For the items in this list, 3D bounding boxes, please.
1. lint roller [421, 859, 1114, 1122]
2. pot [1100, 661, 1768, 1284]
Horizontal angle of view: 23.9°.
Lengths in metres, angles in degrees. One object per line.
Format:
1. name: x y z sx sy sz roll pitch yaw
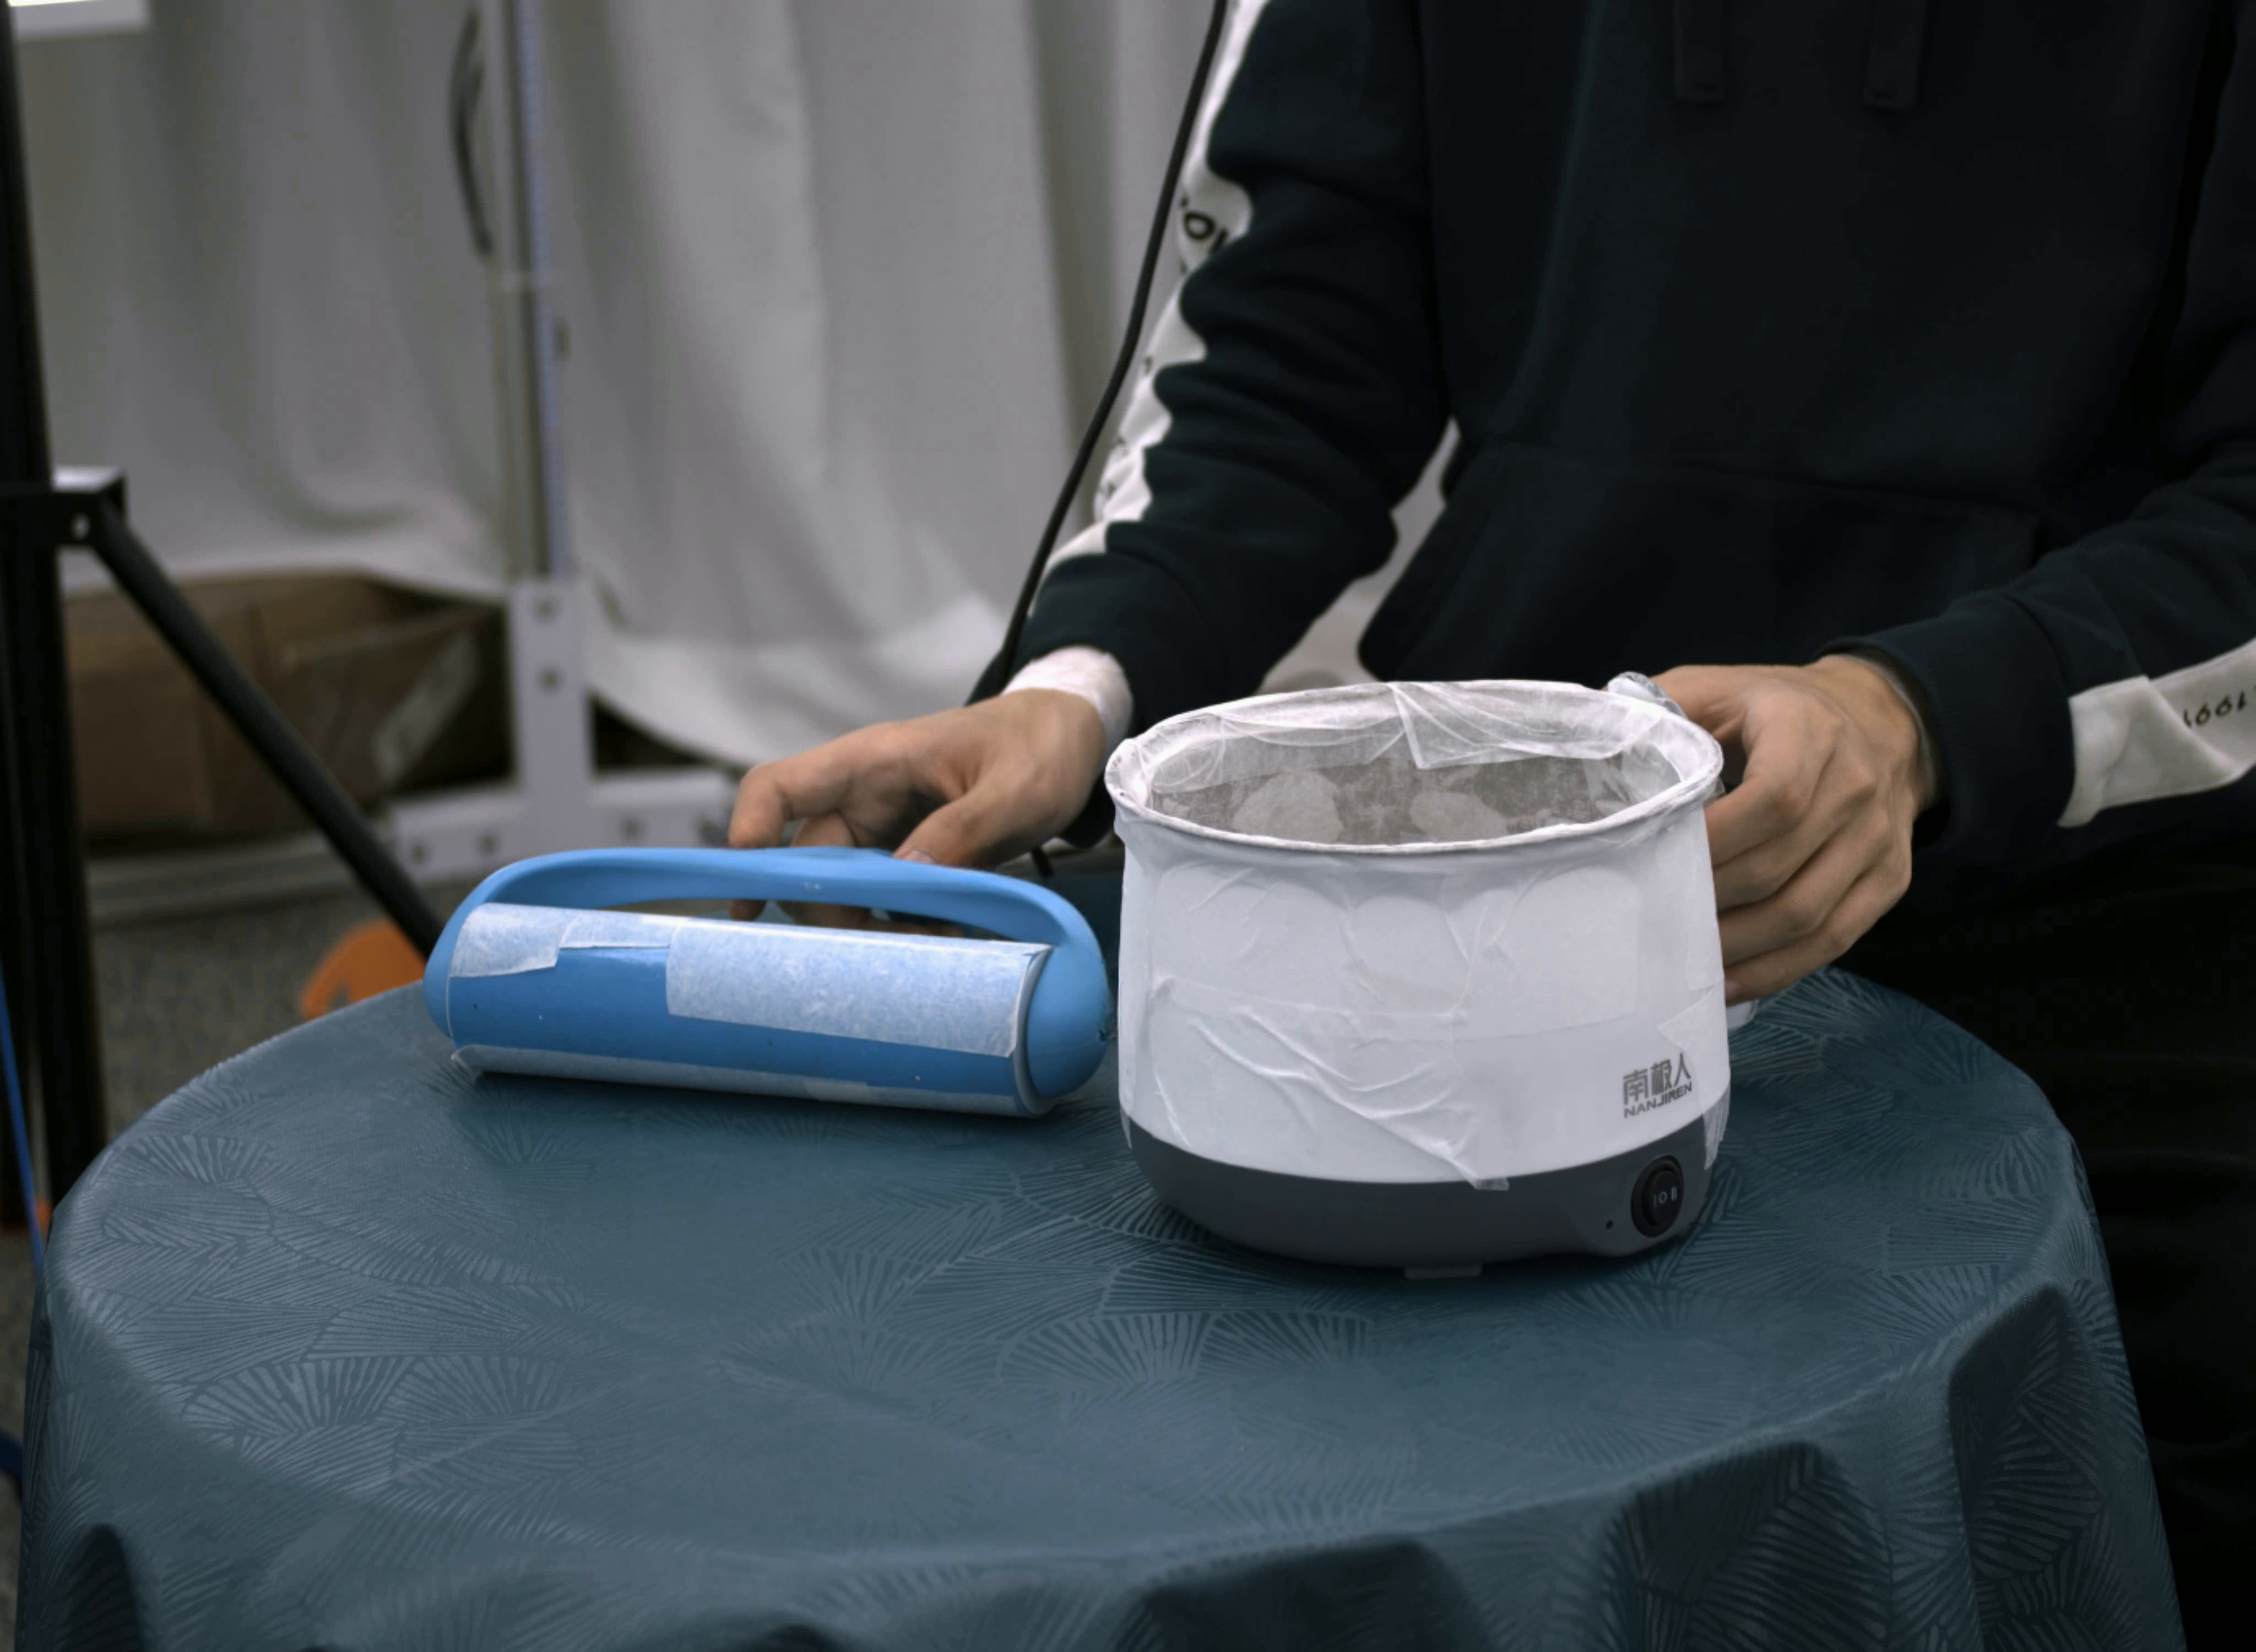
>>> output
1. lint roller: -0.097 0.041 1.709 0.231 0.068 0.178 1 17 18
2. pot: 0.102 0.035 1.540 0.183 0.136 0.228 12 23 43
